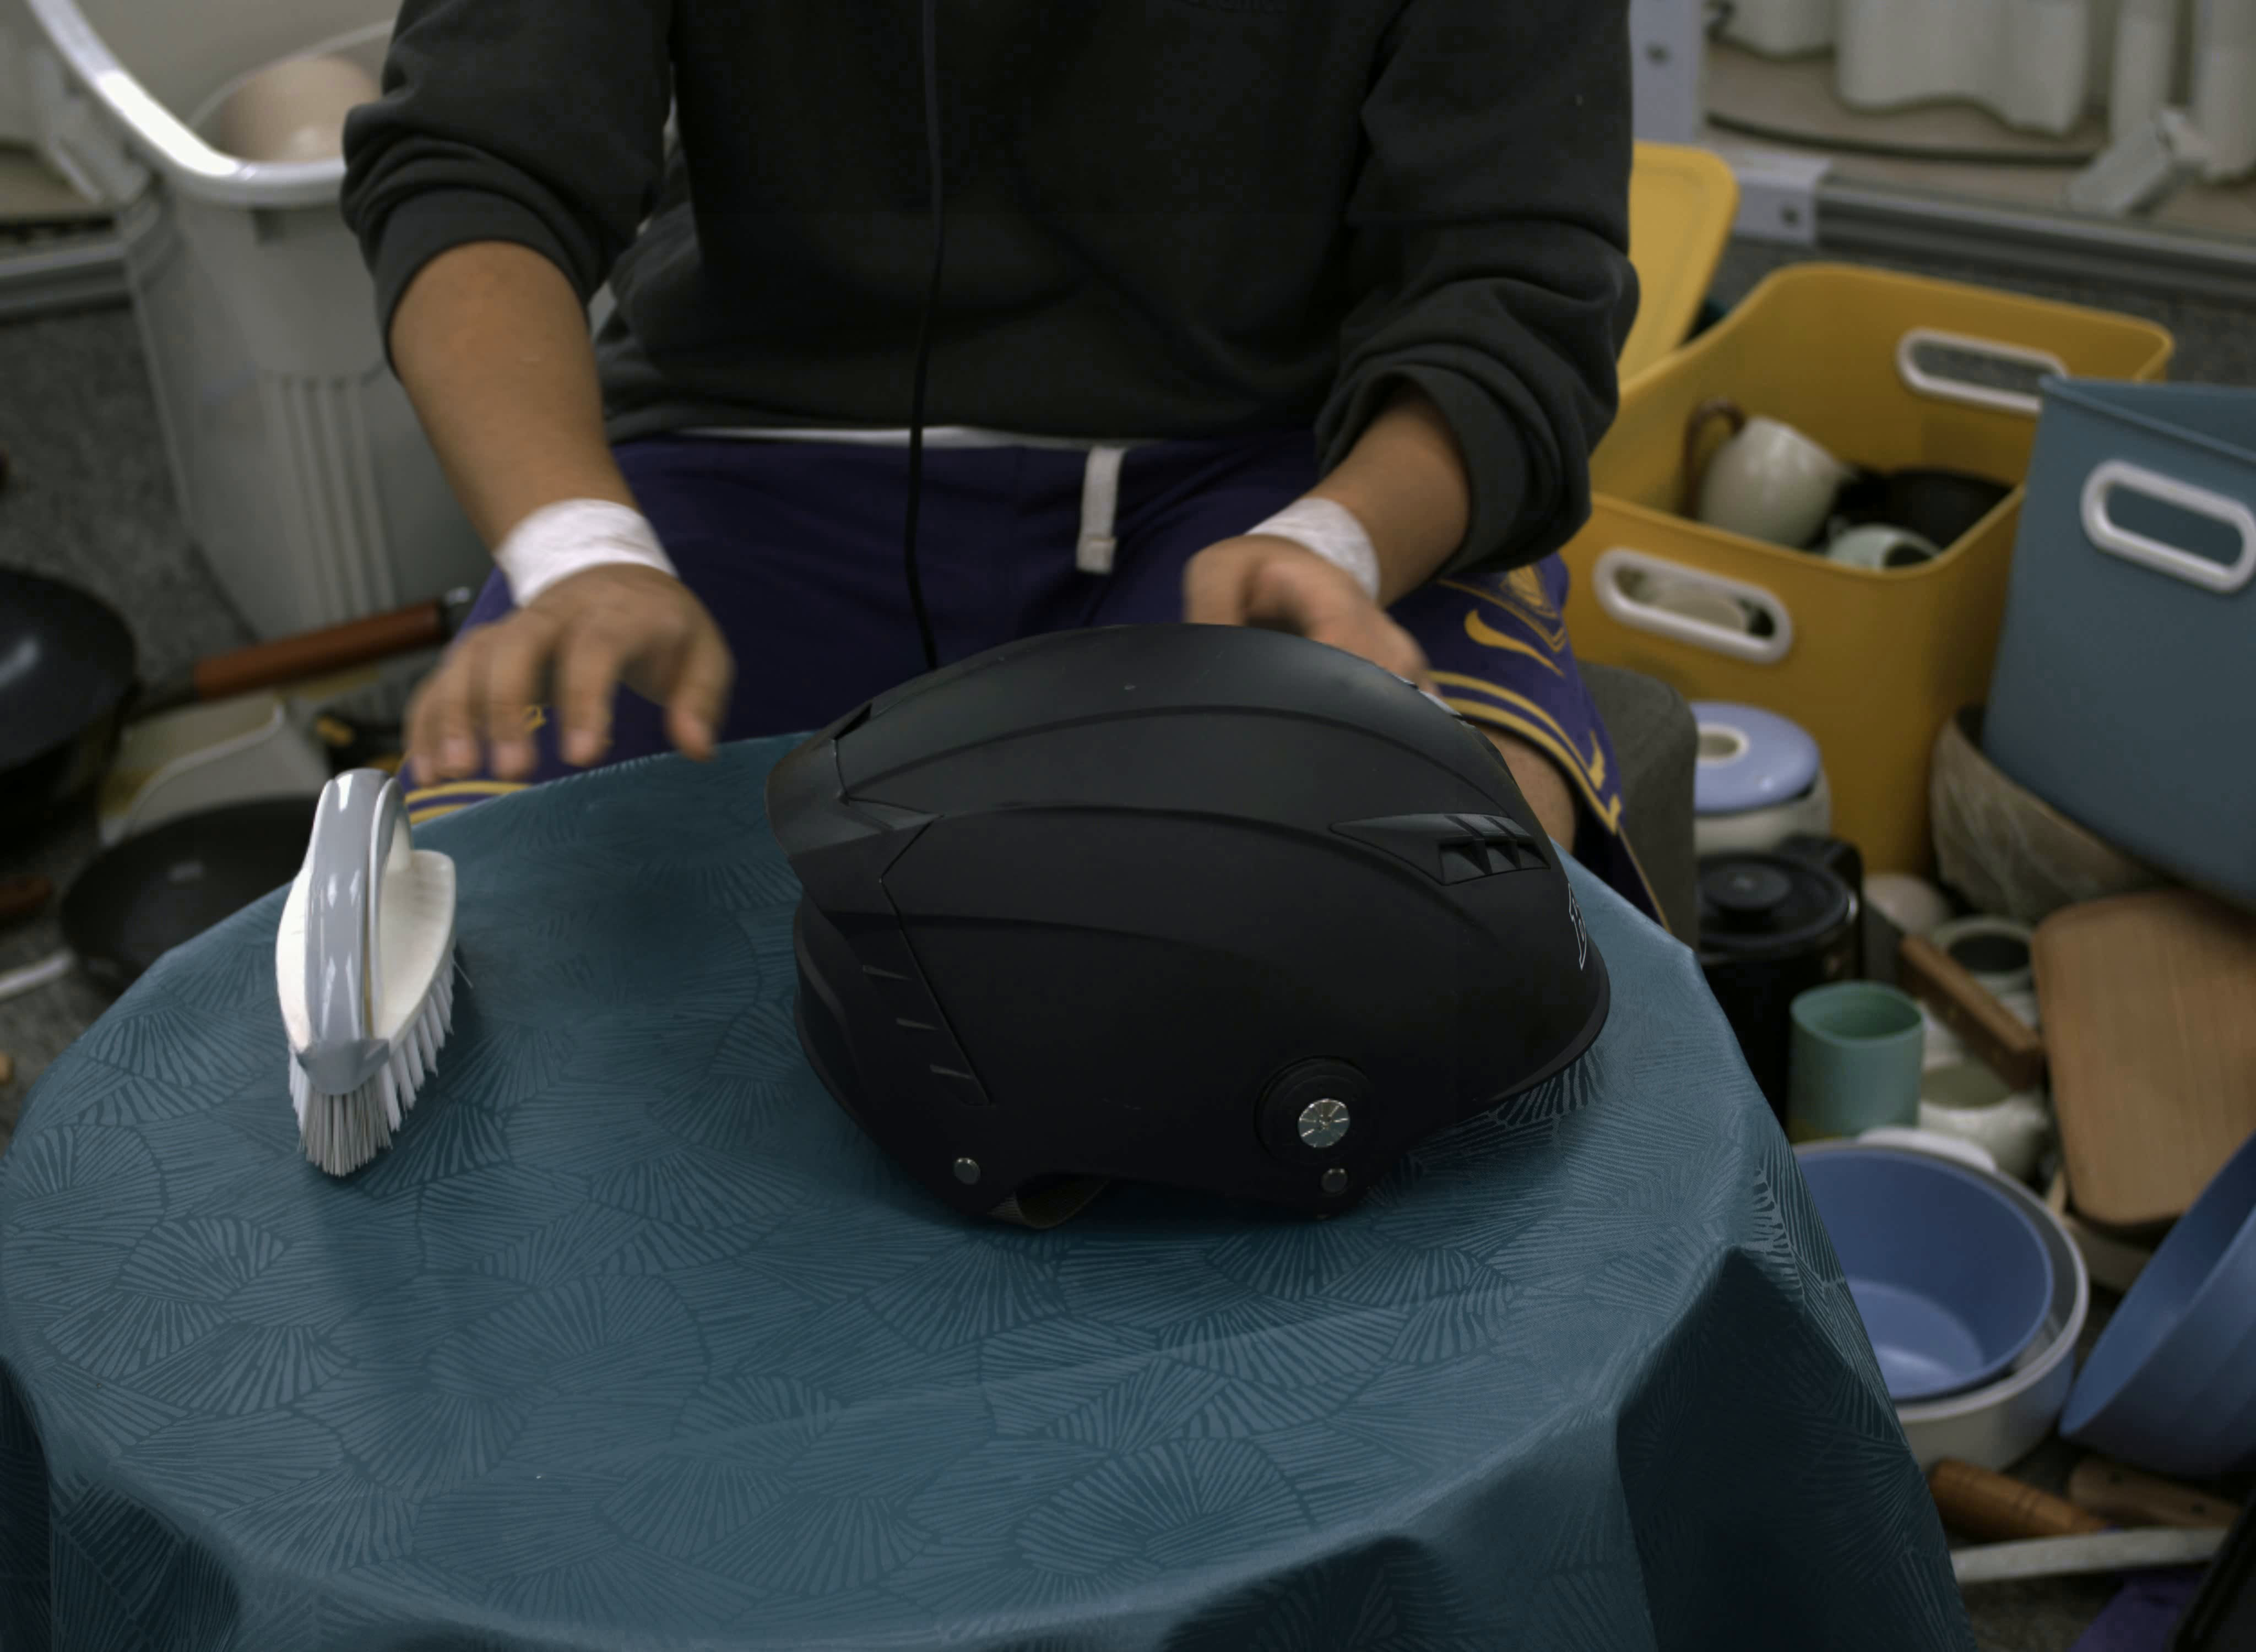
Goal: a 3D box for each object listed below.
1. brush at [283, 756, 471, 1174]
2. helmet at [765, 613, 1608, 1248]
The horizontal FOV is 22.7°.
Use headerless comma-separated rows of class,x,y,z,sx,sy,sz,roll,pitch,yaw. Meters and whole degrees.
brush,-0.265,0.041,1.948,0.061,0.093,0.178,-4,29,1
helmet,0.018,0.017,1.893,0.275,0.170,0.250,-8,28,-1
